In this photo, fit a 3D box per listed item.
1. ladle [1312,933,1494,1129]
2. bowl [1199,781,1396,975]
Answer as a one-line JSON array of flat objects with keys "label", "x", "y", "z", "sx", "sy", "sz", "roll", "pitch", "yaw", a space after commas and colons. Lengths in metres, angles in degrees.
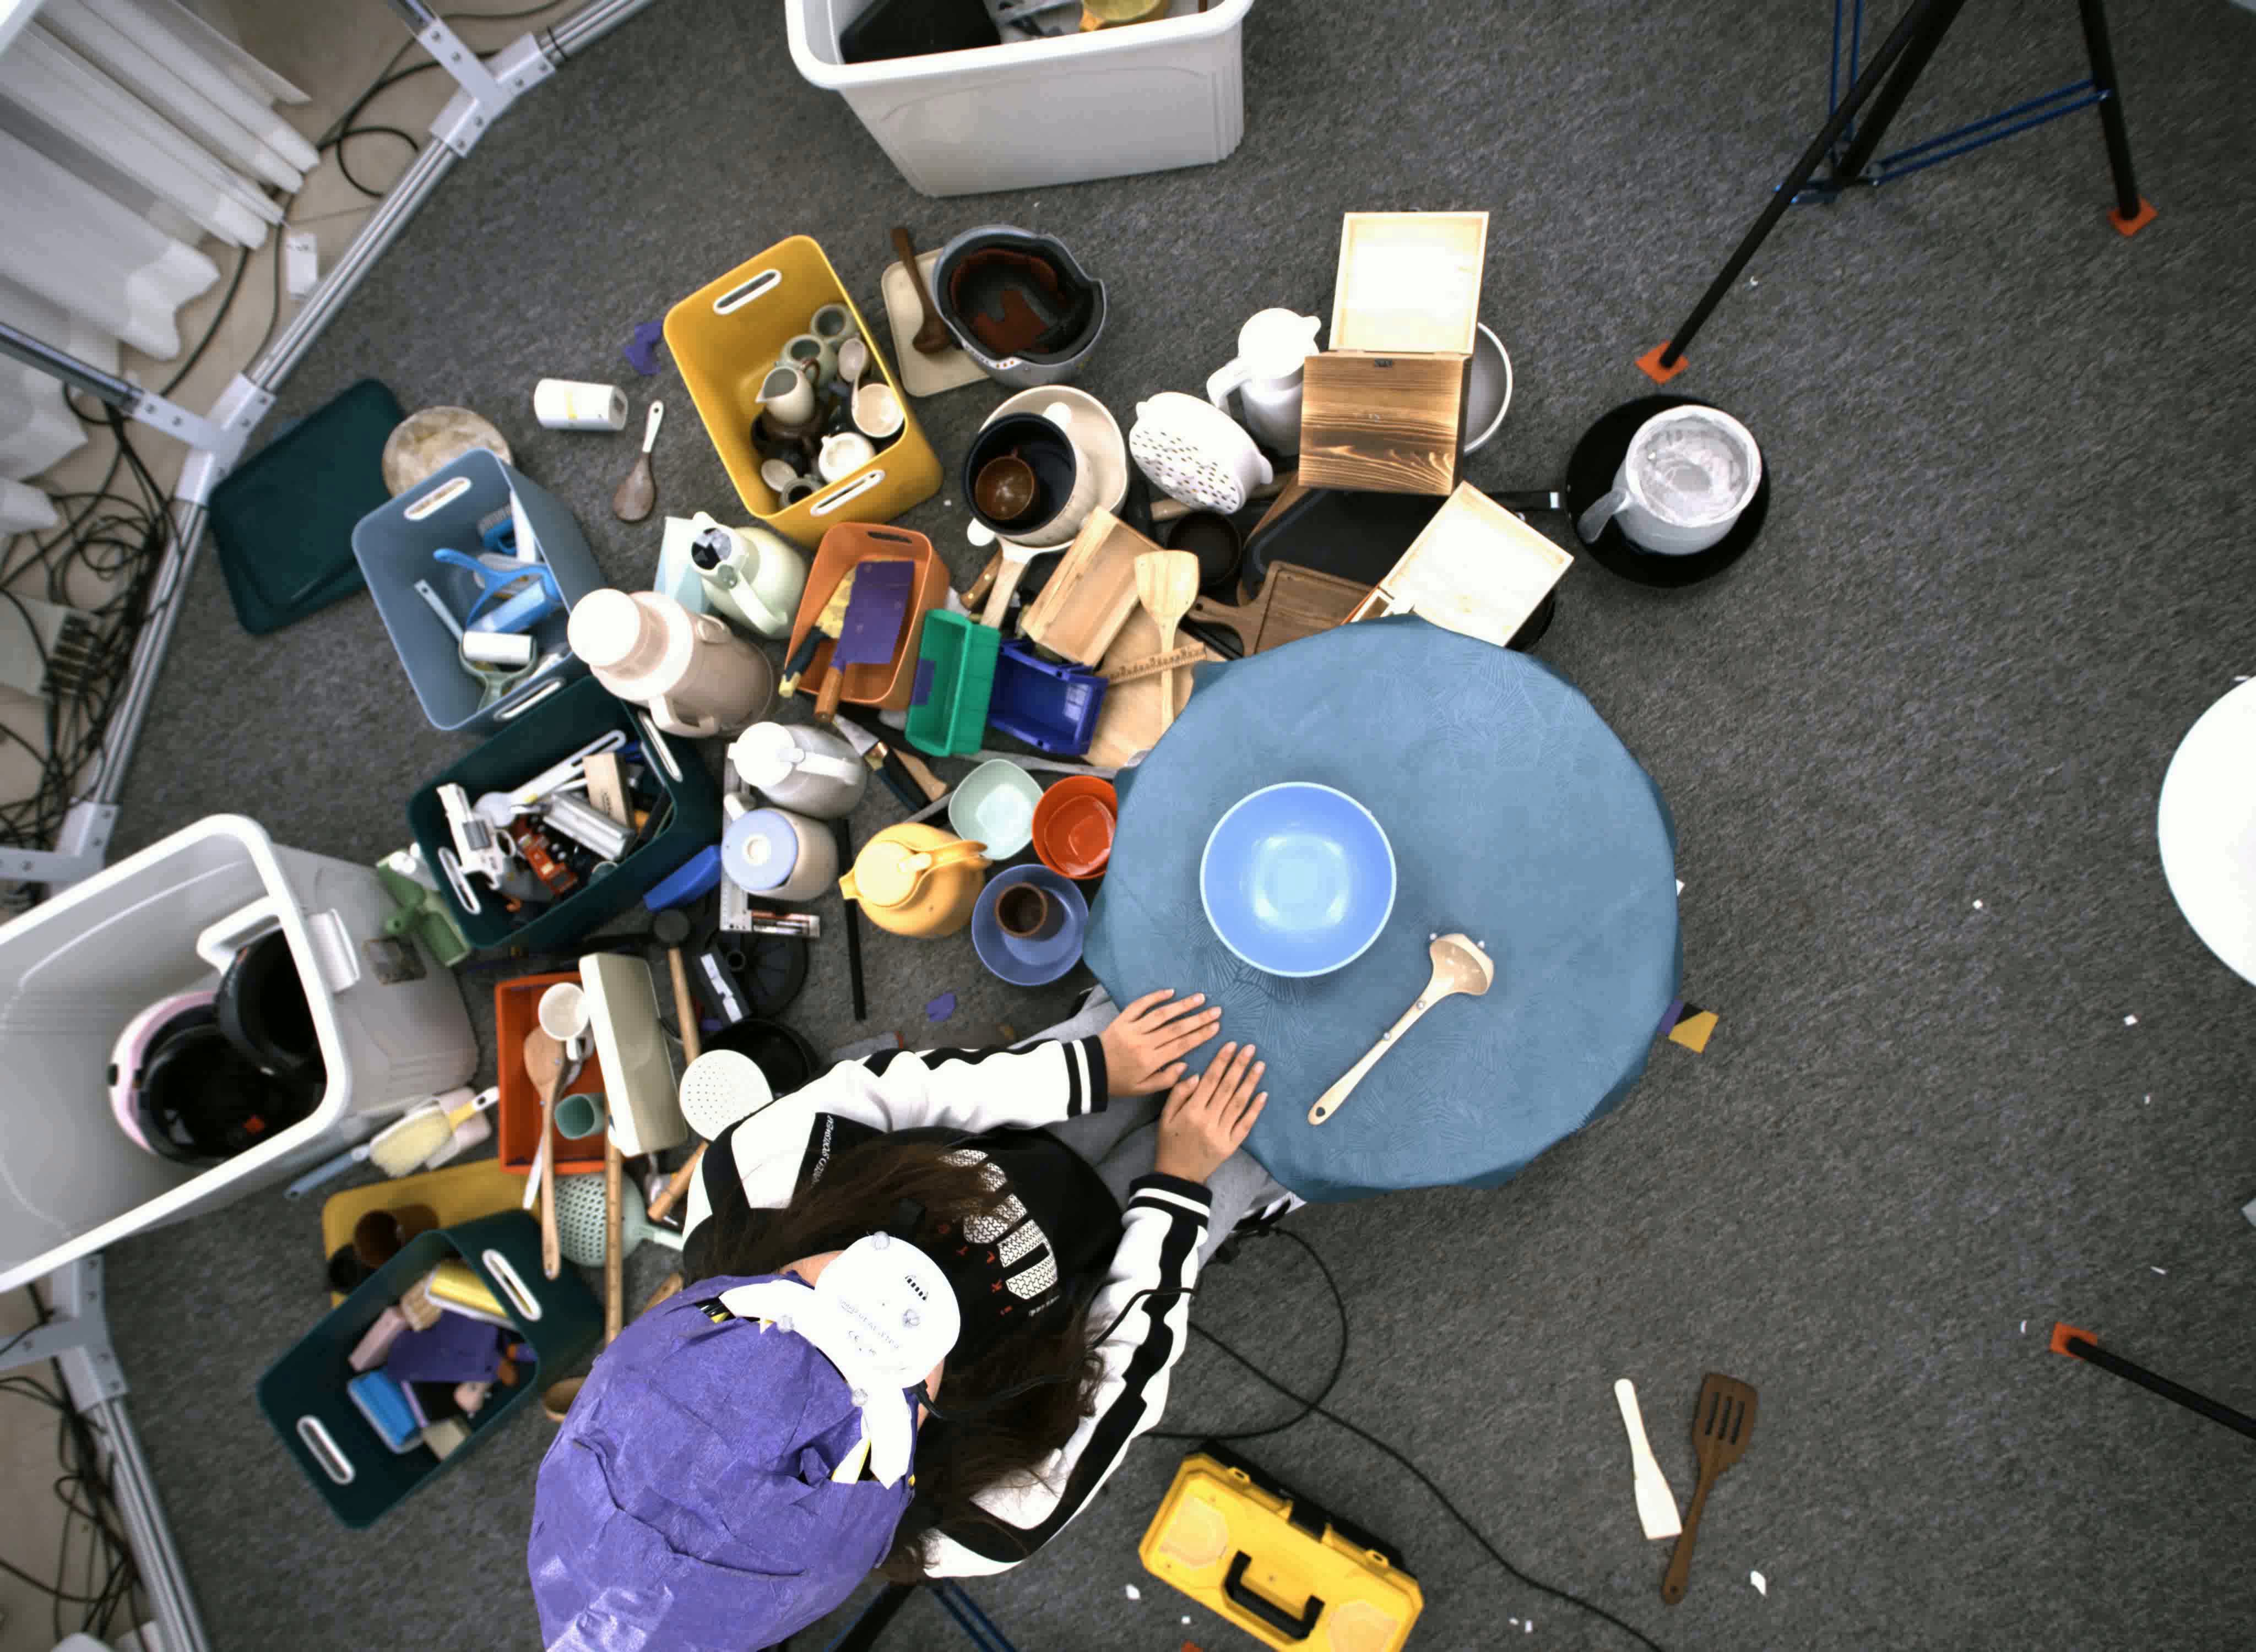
[{"label": "ladle", "x": 0.274, "y": 0.215, "z": 1.414, "sx": 0.072, "sy": 0.073, "sz": 0.255, "roll": 42, "pitch": 94, "yaw": 12}, {"label": "bowl", "x": 0.175, "y": 0.057, "z": 1.429, "sx": 0.197, "sy": 0.096, "sz": 0.195, "roll": -1, "pitch": 84, "yaw": 9}]
